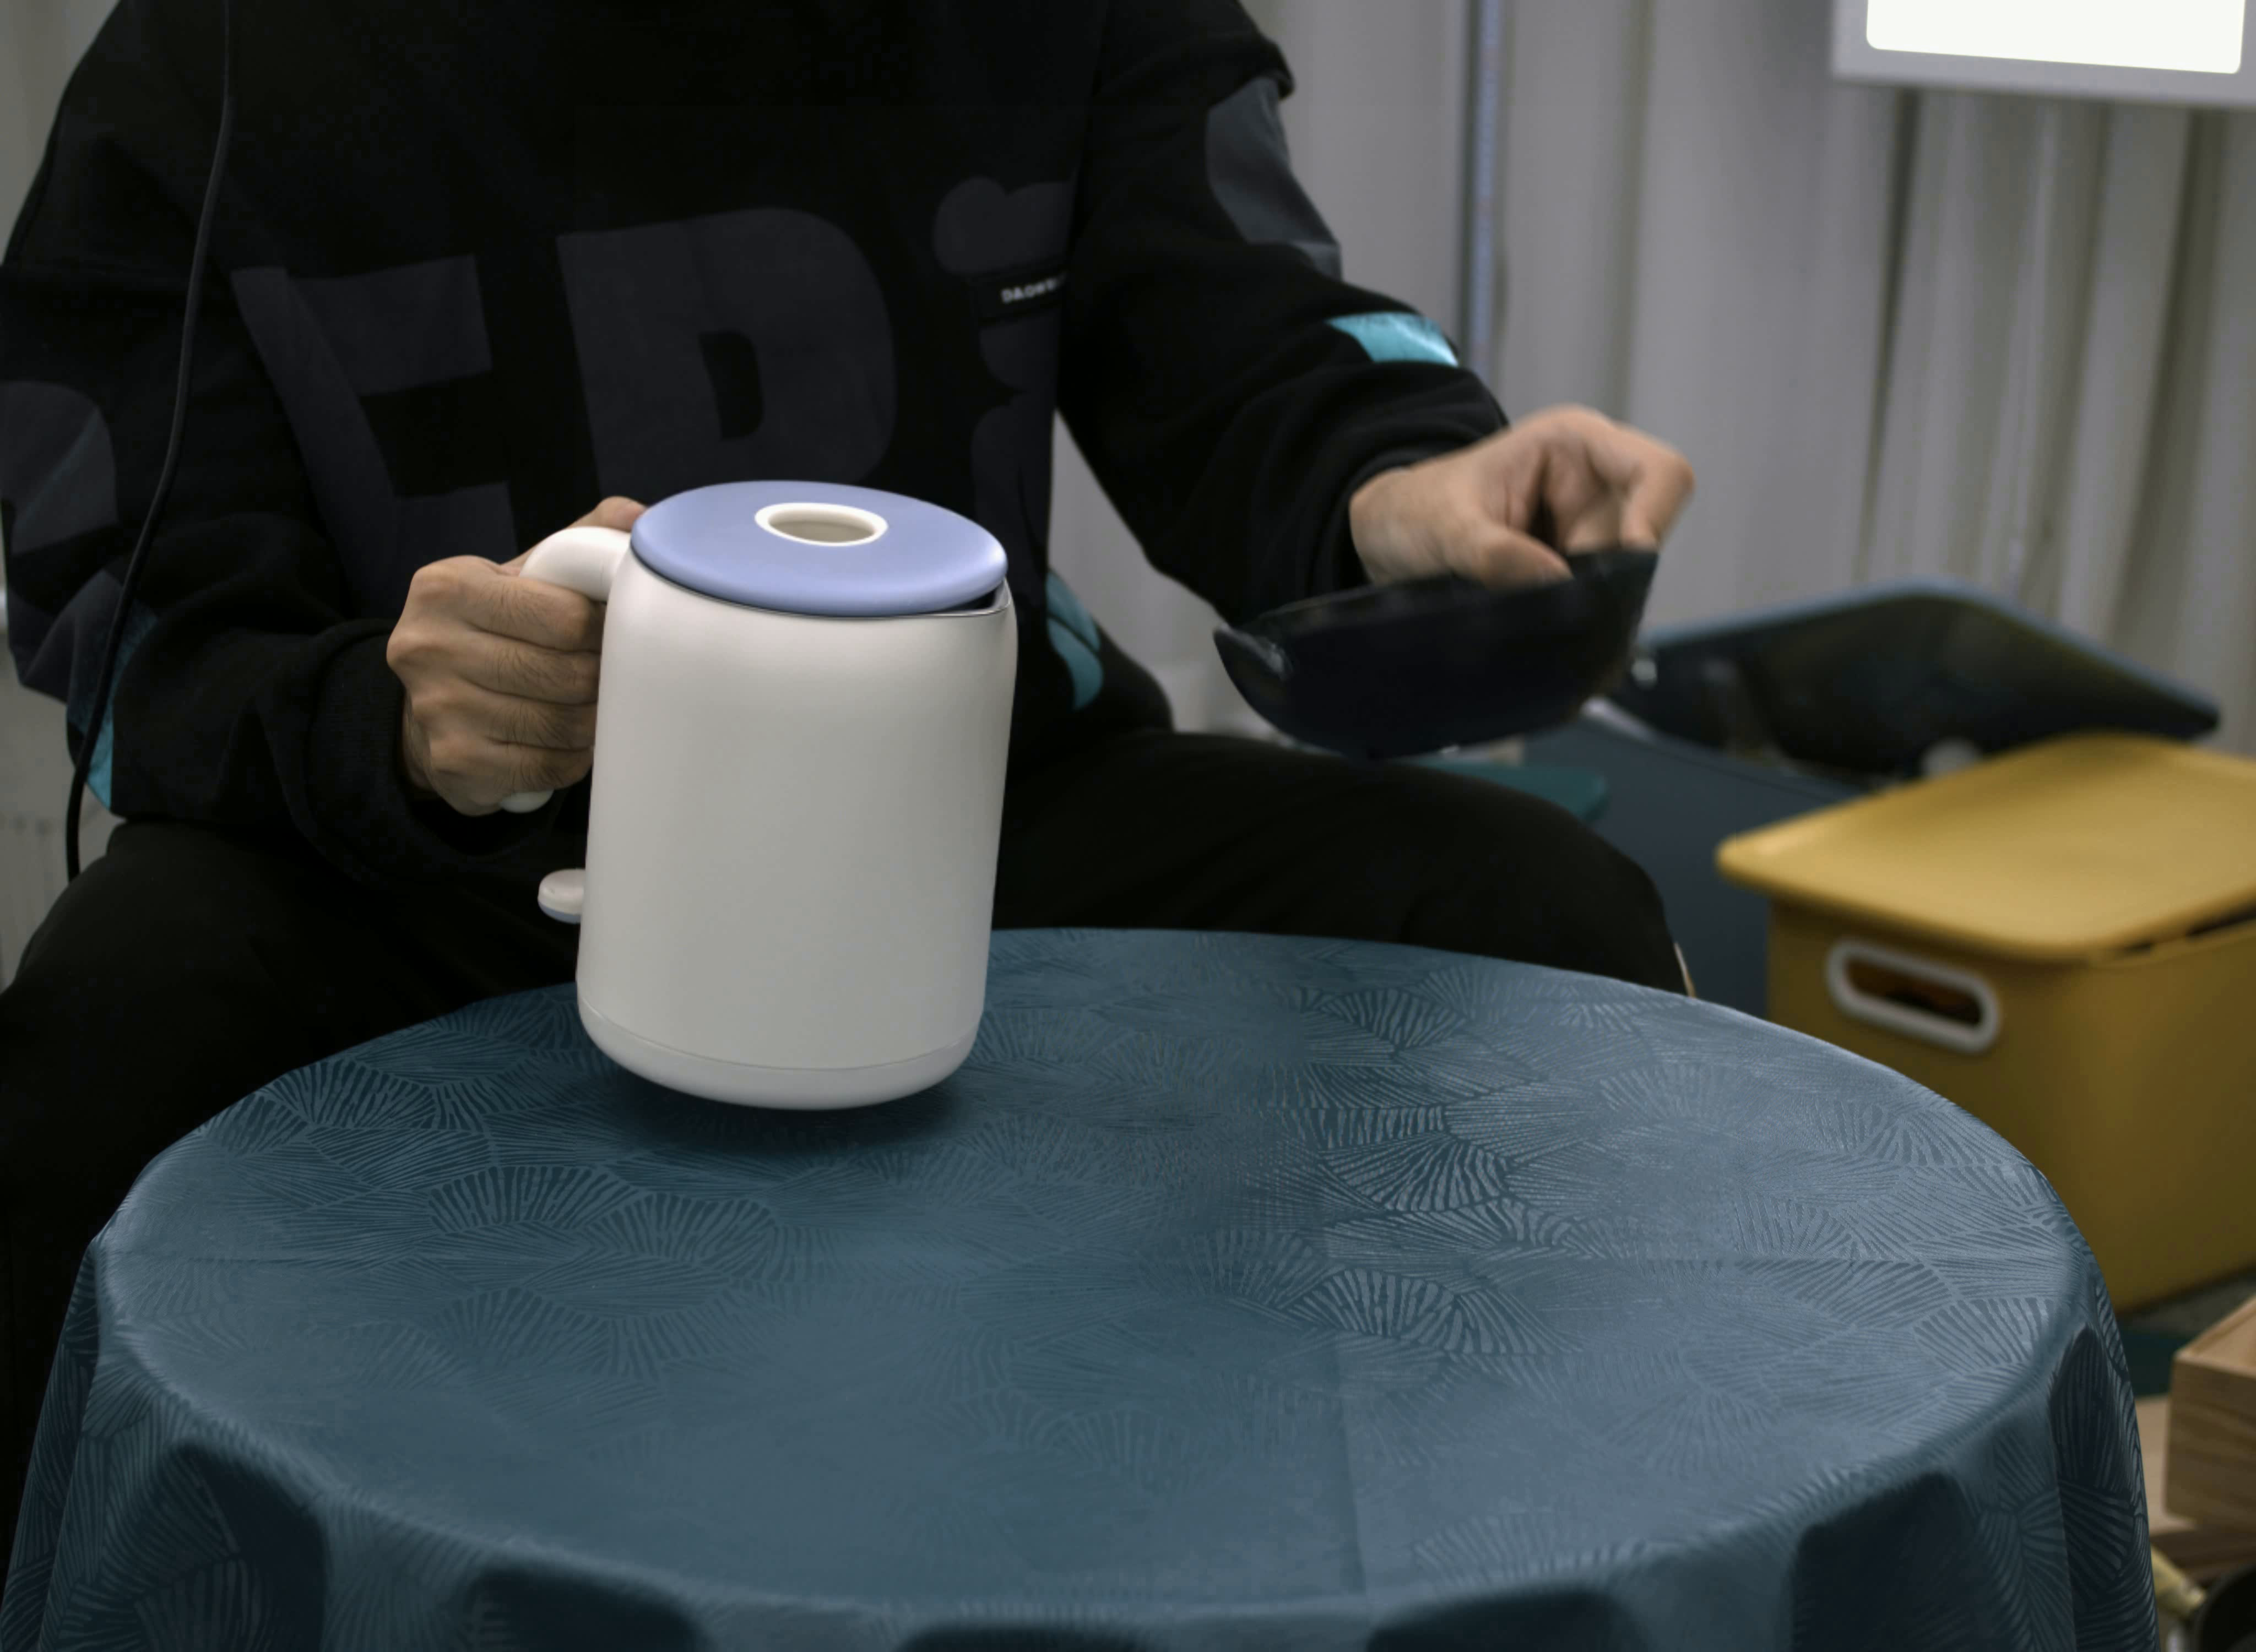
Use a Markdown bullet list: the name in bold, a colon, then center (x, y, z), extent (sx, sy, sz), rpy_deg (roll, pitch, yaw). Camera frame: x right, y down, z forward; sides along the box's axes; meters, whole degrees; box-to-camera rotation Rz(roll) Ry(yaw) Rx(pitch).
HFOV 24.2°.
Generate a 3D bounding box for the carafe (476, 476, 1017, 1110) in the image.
- **carafe**: center (-0.126, -0.017, 1.676), extent (0.189, 0.184, 0.132), rpy_deg (14, 20, 26)

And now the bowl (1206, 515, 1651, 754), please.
- **bowl**: center (0.096, -0.054, 1.597), extent (0.139, 0.050, 0.140), rpy_deg (-14, 1, 1)
